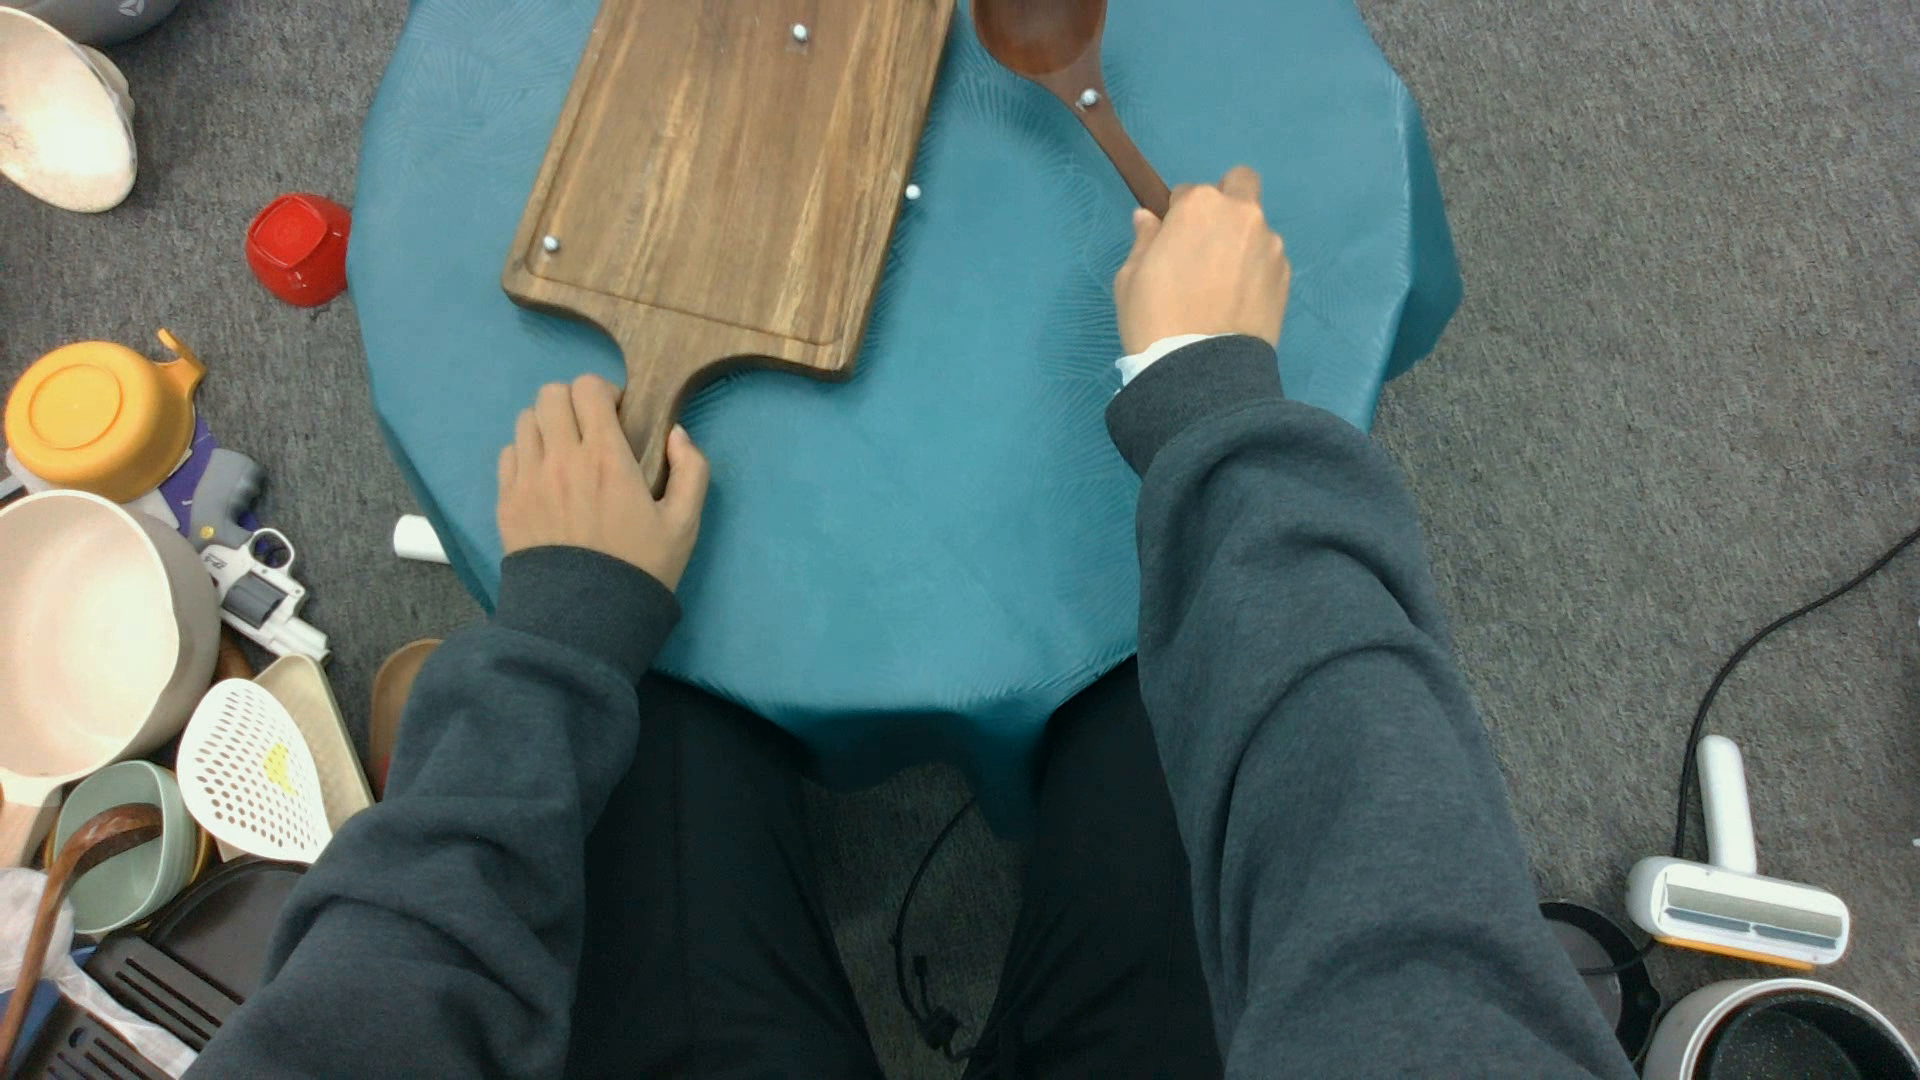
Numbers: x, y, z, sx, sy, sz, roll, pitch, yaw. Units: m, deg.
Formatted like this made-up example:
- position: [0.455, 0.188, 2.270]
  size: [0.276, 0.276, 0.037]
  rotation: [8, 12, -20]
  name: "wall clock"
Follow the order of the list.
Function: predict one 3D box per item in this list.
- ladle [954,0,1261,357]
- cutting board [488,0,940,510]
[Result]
- position: [0.083, -0.210, 0.727]
  size: [0.076, 0.065, 0.260]
  rotation: [-32, 80, 8]
  name: "ladle"
- position: [-0.144, -0.184, 0.759]
  size: [0.201, 0.023, 0.353]
  rotation: [13, 74, 4]
  name: "cutting board"
